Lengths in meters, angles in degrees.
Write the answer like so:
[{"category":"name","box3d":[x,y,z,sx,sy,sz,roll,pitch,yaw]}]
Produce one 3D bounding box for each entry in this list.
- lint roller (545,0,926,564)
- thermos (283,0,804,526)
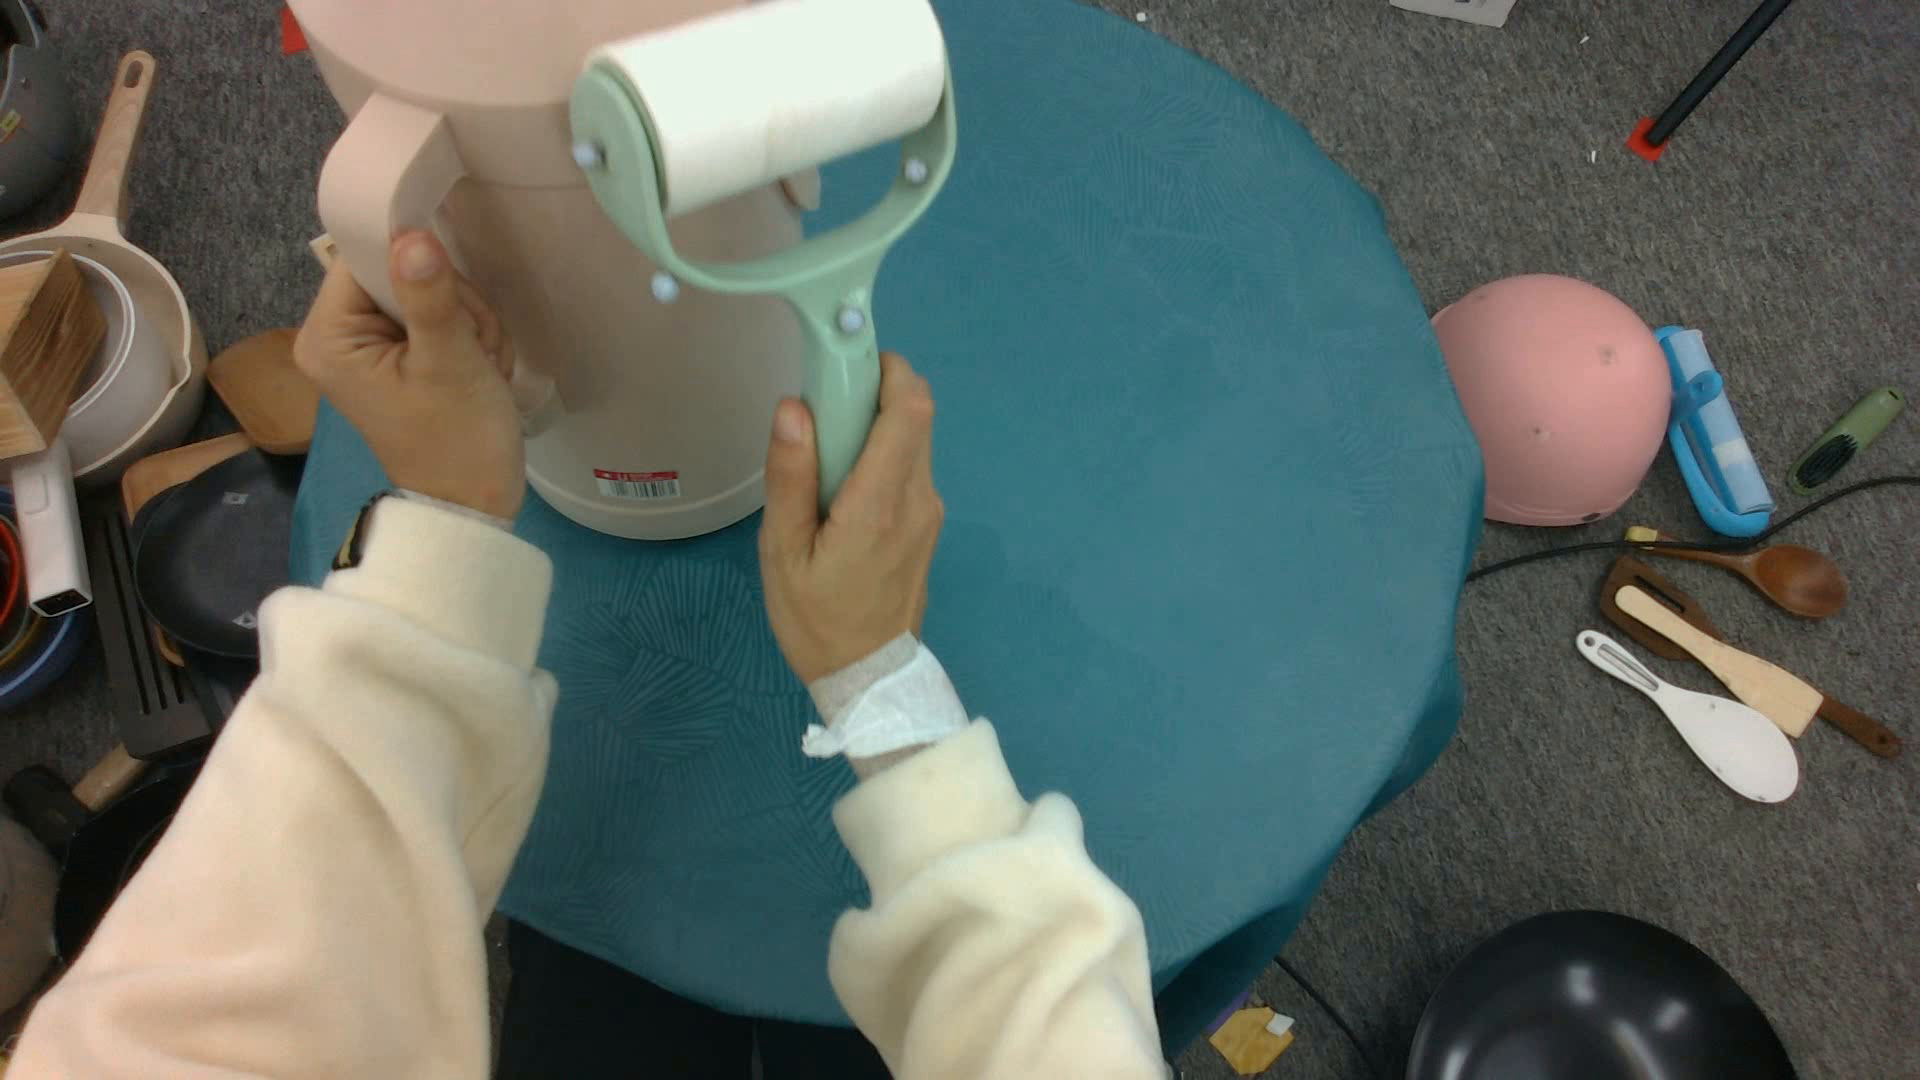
[{"category":"lint roller","box3d":[-0.059,-0.068,0.459,0.117,0.197,0.048,-31,39,-32]},{"category":"thermos","box3d":[-0.152,-0.148,0.522,0.175,0.404,0.208,20,65,5]}]
